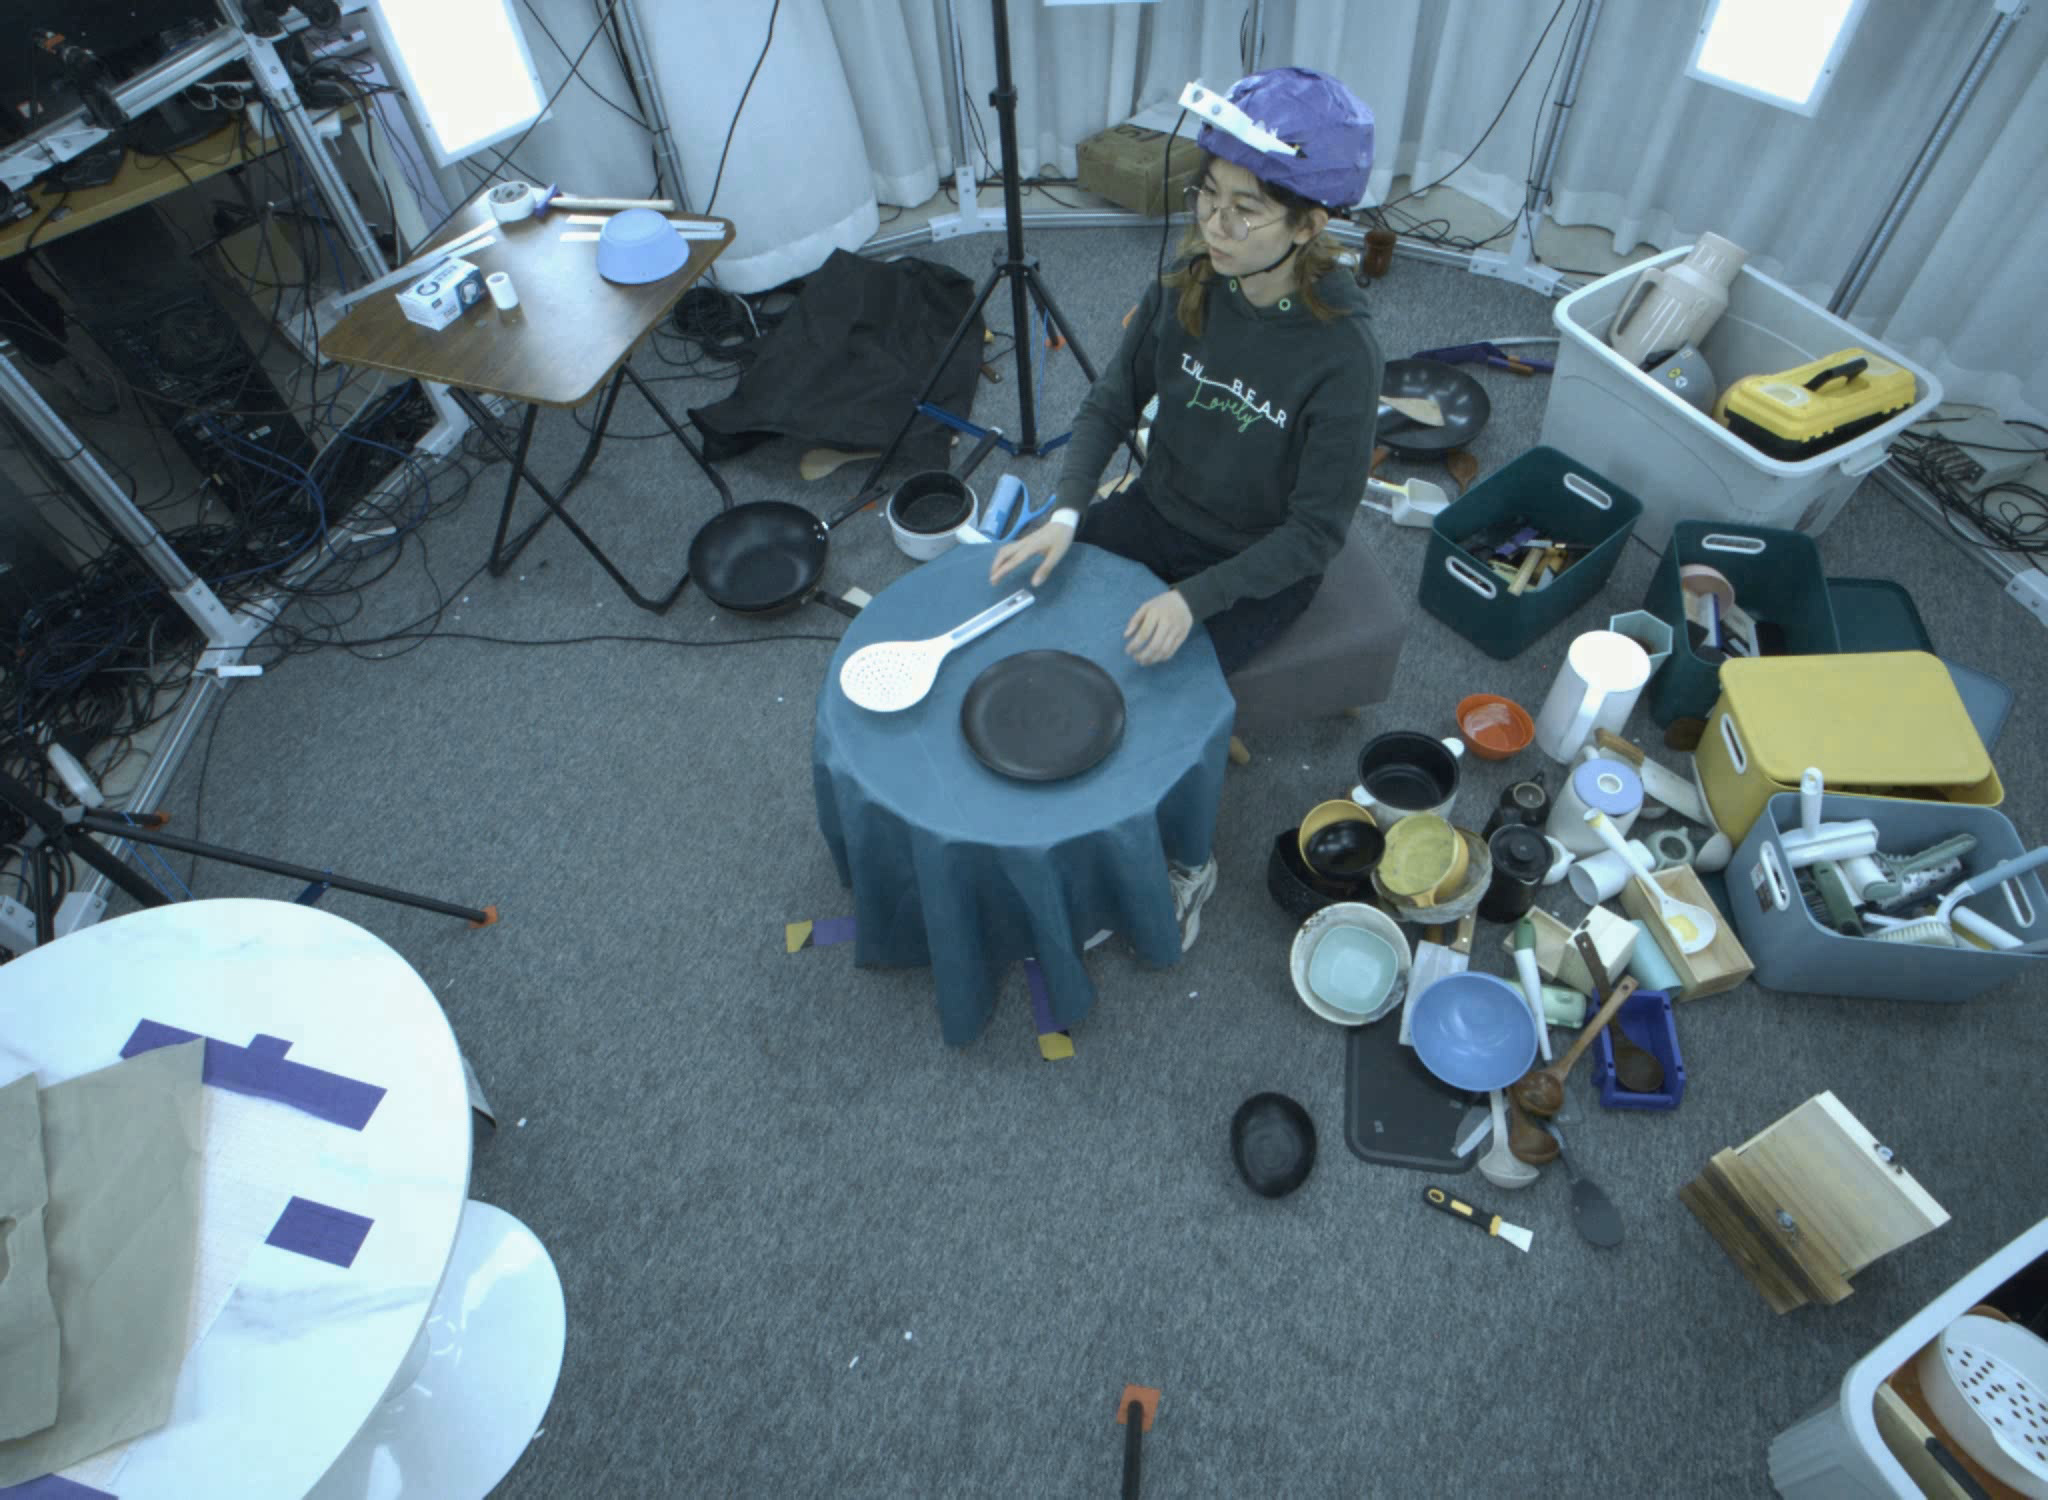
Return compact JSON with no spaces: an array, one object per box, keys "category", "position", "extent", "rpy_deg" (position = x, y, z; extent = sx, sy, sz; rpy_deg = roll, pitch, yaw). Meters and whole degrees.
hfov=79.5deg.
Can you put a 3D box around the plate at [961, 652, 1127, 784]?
[{"category":"plate","position":[0.030,-0.045,1.815],"extent":[0.244,0.024,0.242],"rpy_deg":[0,55,2]}]

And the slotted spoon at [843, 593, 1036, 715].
[{"category":"slotted spoon","position":[-0.121,-0.156,1.883],"extent":[0.352,0.046,0.134],"rpy_deg":[-36,64,-22]}]
